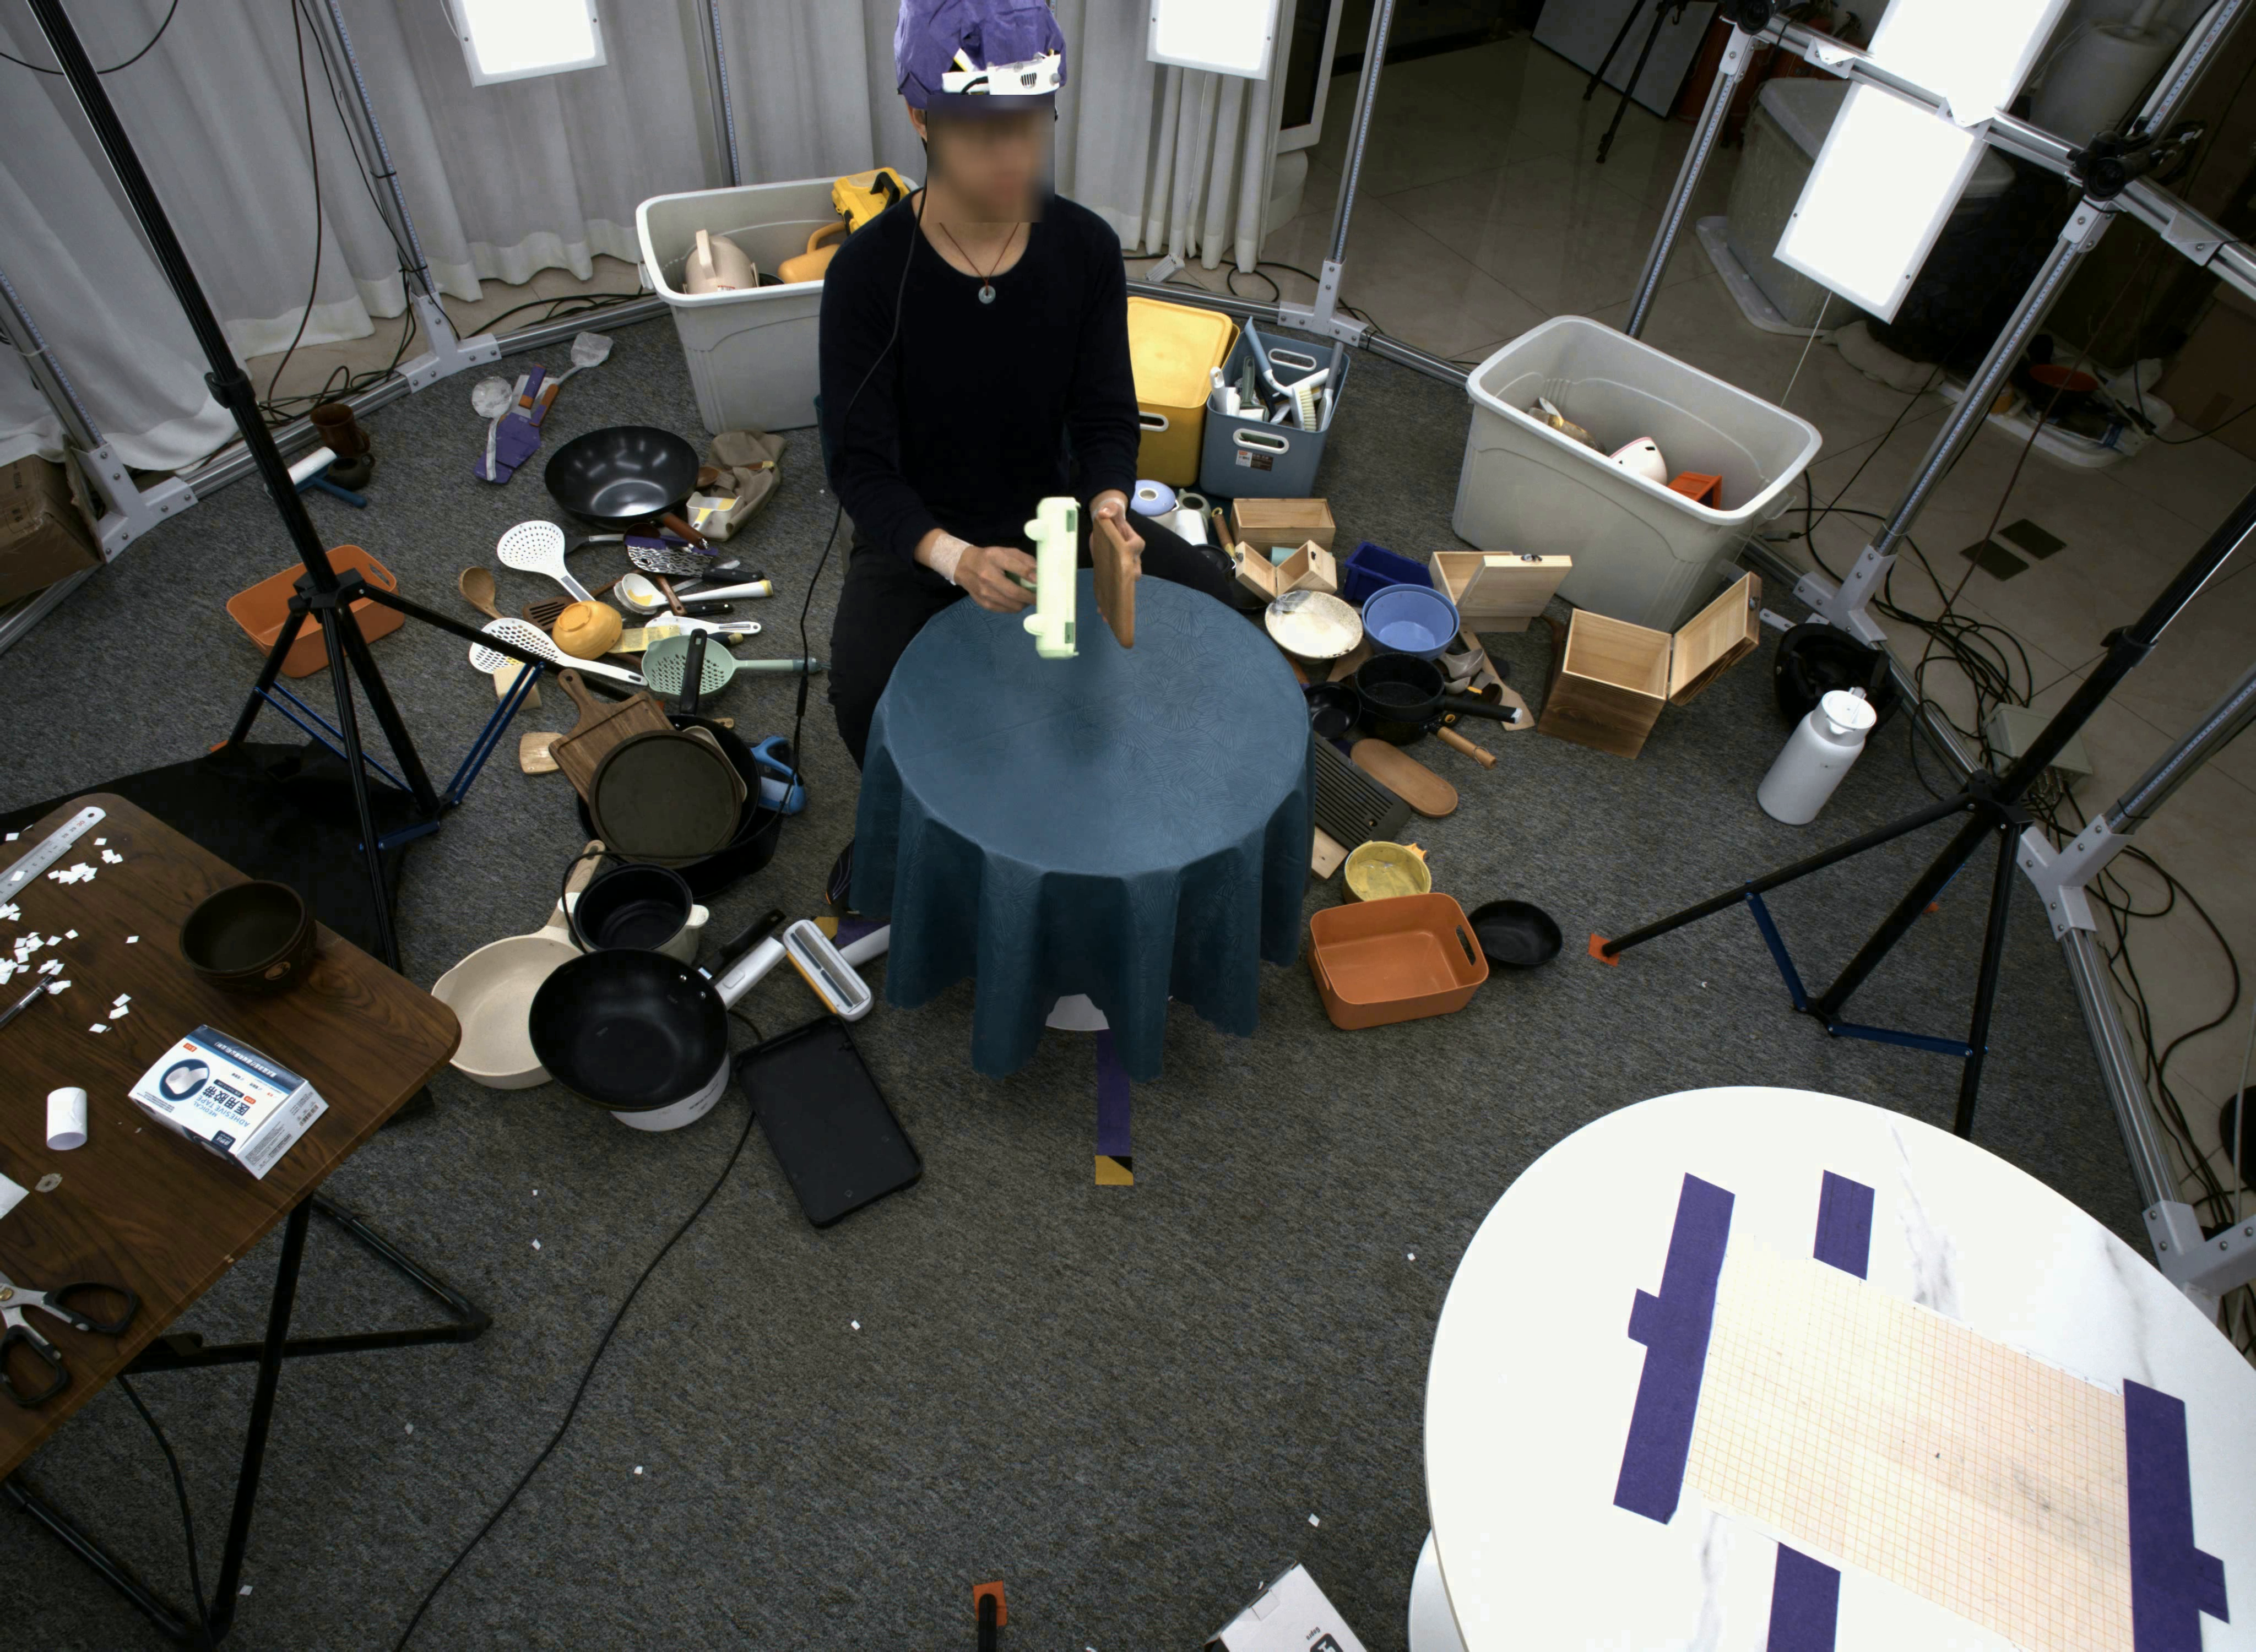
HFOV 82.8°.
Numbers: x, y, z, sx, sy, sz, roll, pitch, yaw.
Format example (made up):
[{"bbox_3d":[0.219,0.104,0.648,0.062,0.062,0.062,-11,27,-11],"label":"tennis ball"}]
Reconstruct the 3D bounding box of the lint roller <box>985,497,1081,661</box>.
[{"bbox_3d":[-0.135,-0.309,1.631,0.184,0.198,0.082,3,3,39],"label":"lint roller"}]

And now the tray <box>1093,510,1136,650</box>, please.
[{"bbox_3d":[-0.019,-0.321,1.660,0.023,0.128,0.255,-2,25,-11],"label":"tray"}]
